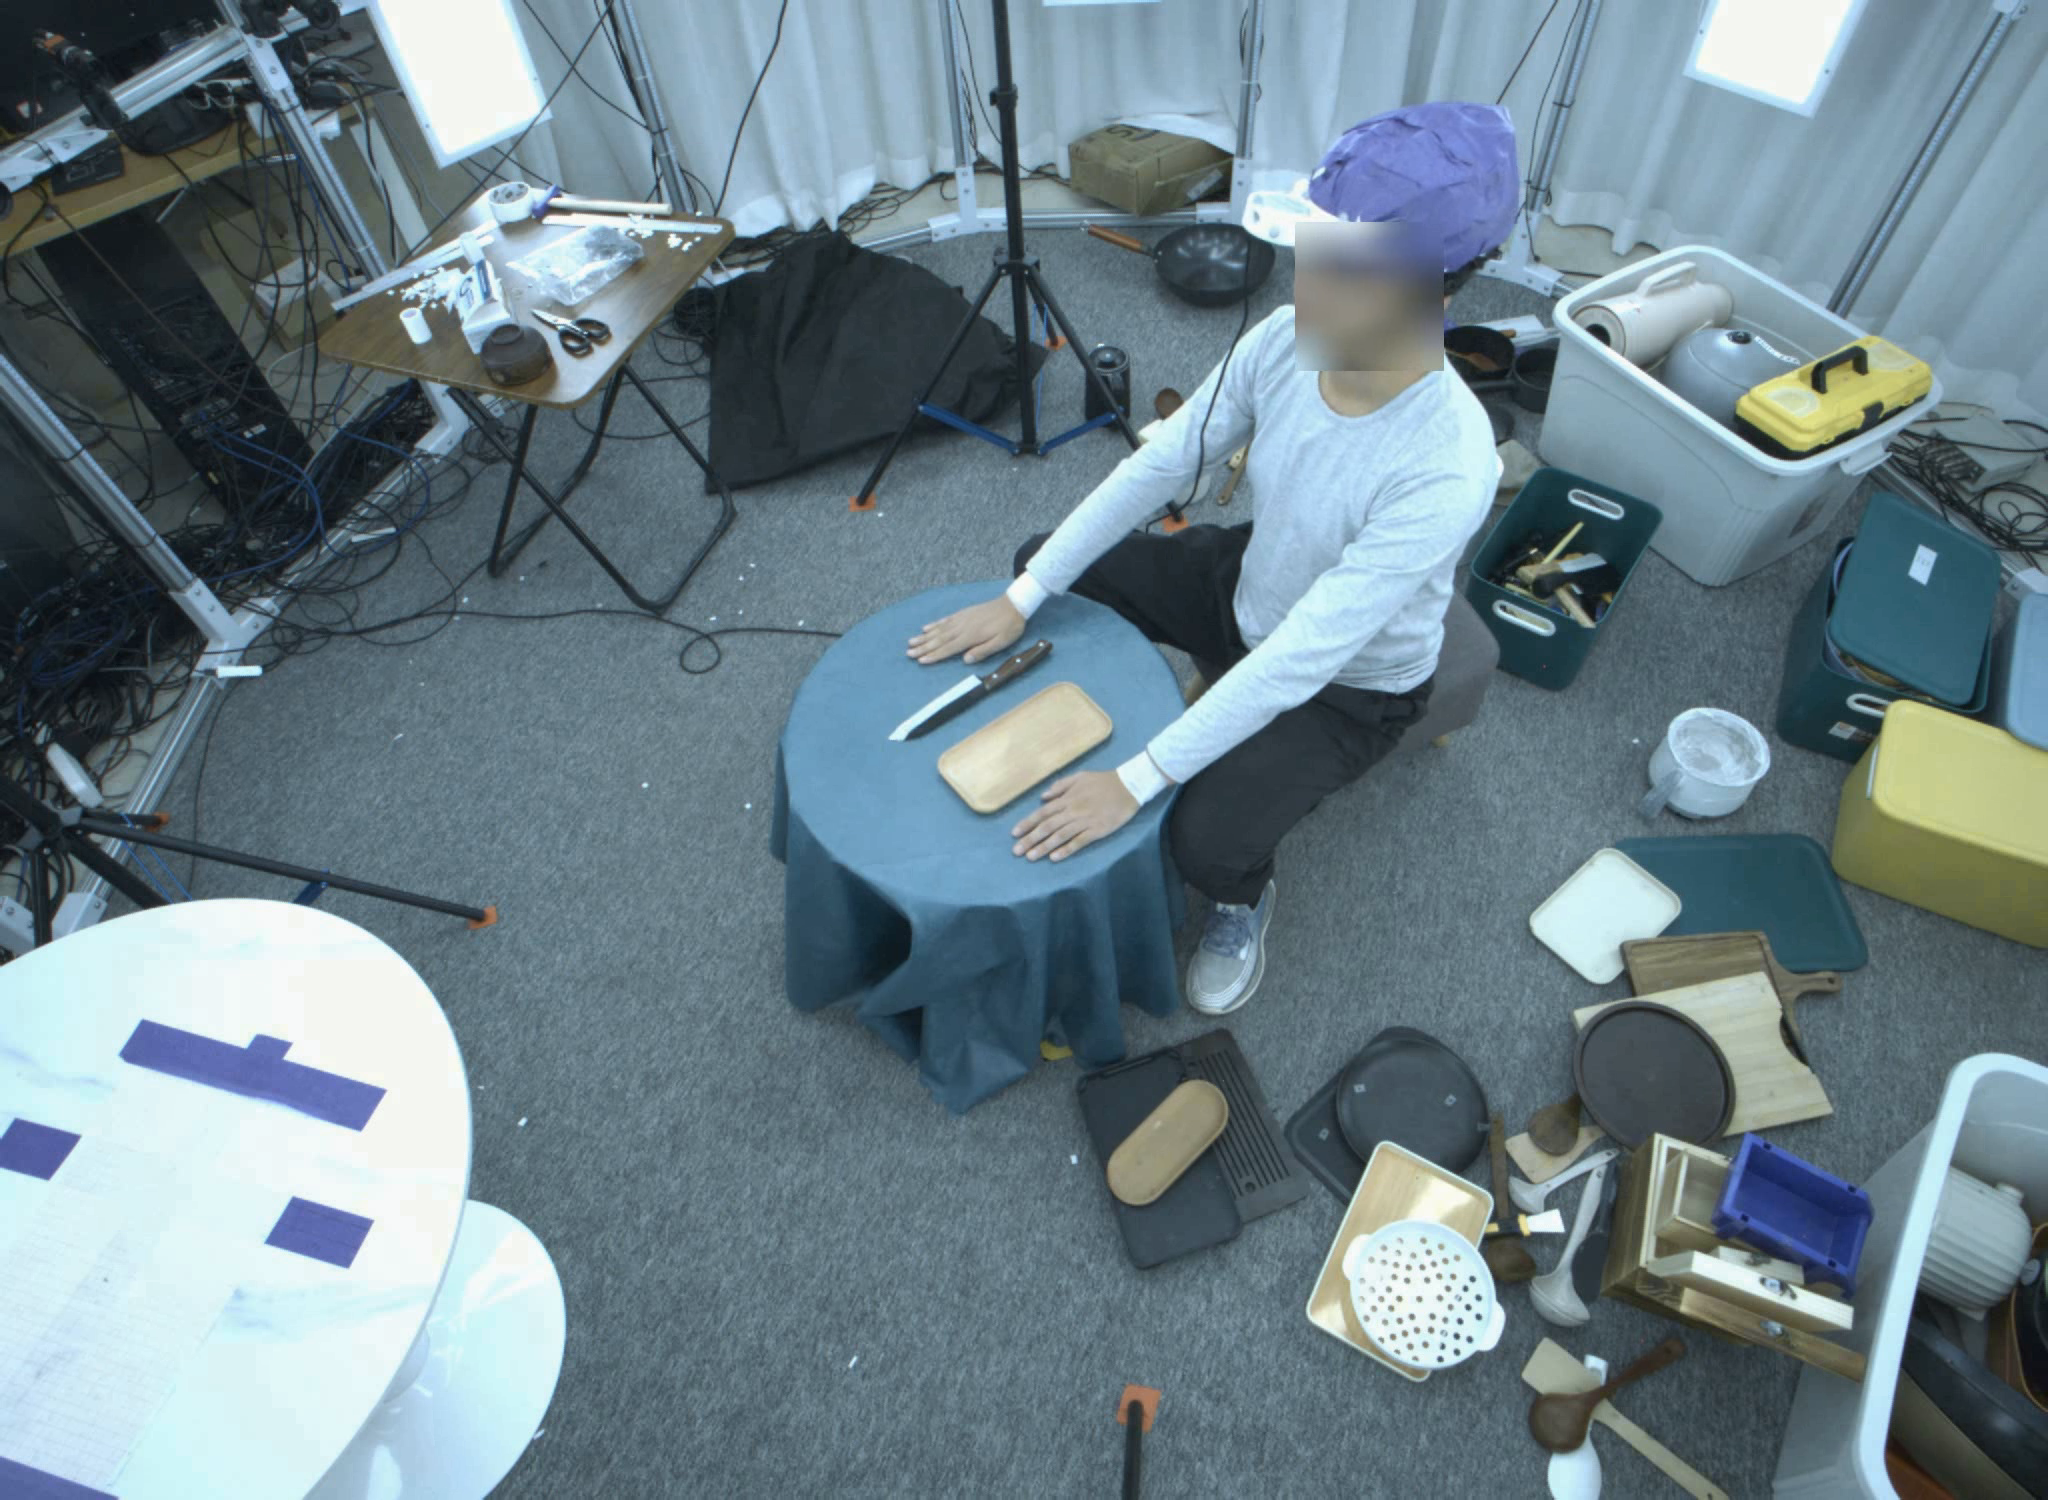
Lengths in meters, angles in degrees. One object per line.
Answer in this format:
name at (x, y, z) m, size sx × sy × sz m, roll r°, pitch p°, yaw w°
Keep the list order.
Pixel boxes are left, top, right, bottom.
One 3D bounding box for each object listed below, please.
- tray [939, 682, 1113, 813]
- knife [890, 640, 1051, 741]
tray at (0.004, -0.005, 1.789) m, size 0.253 × 0.023 × 0.128 m, roll -31°, pitch 62°, yaw -20°
knife at (-0.080, -0.089, 1.852) m, size 0.291 × 0.020 × 0.049 m, roll -32°, pitch 55°, yaw -17°
